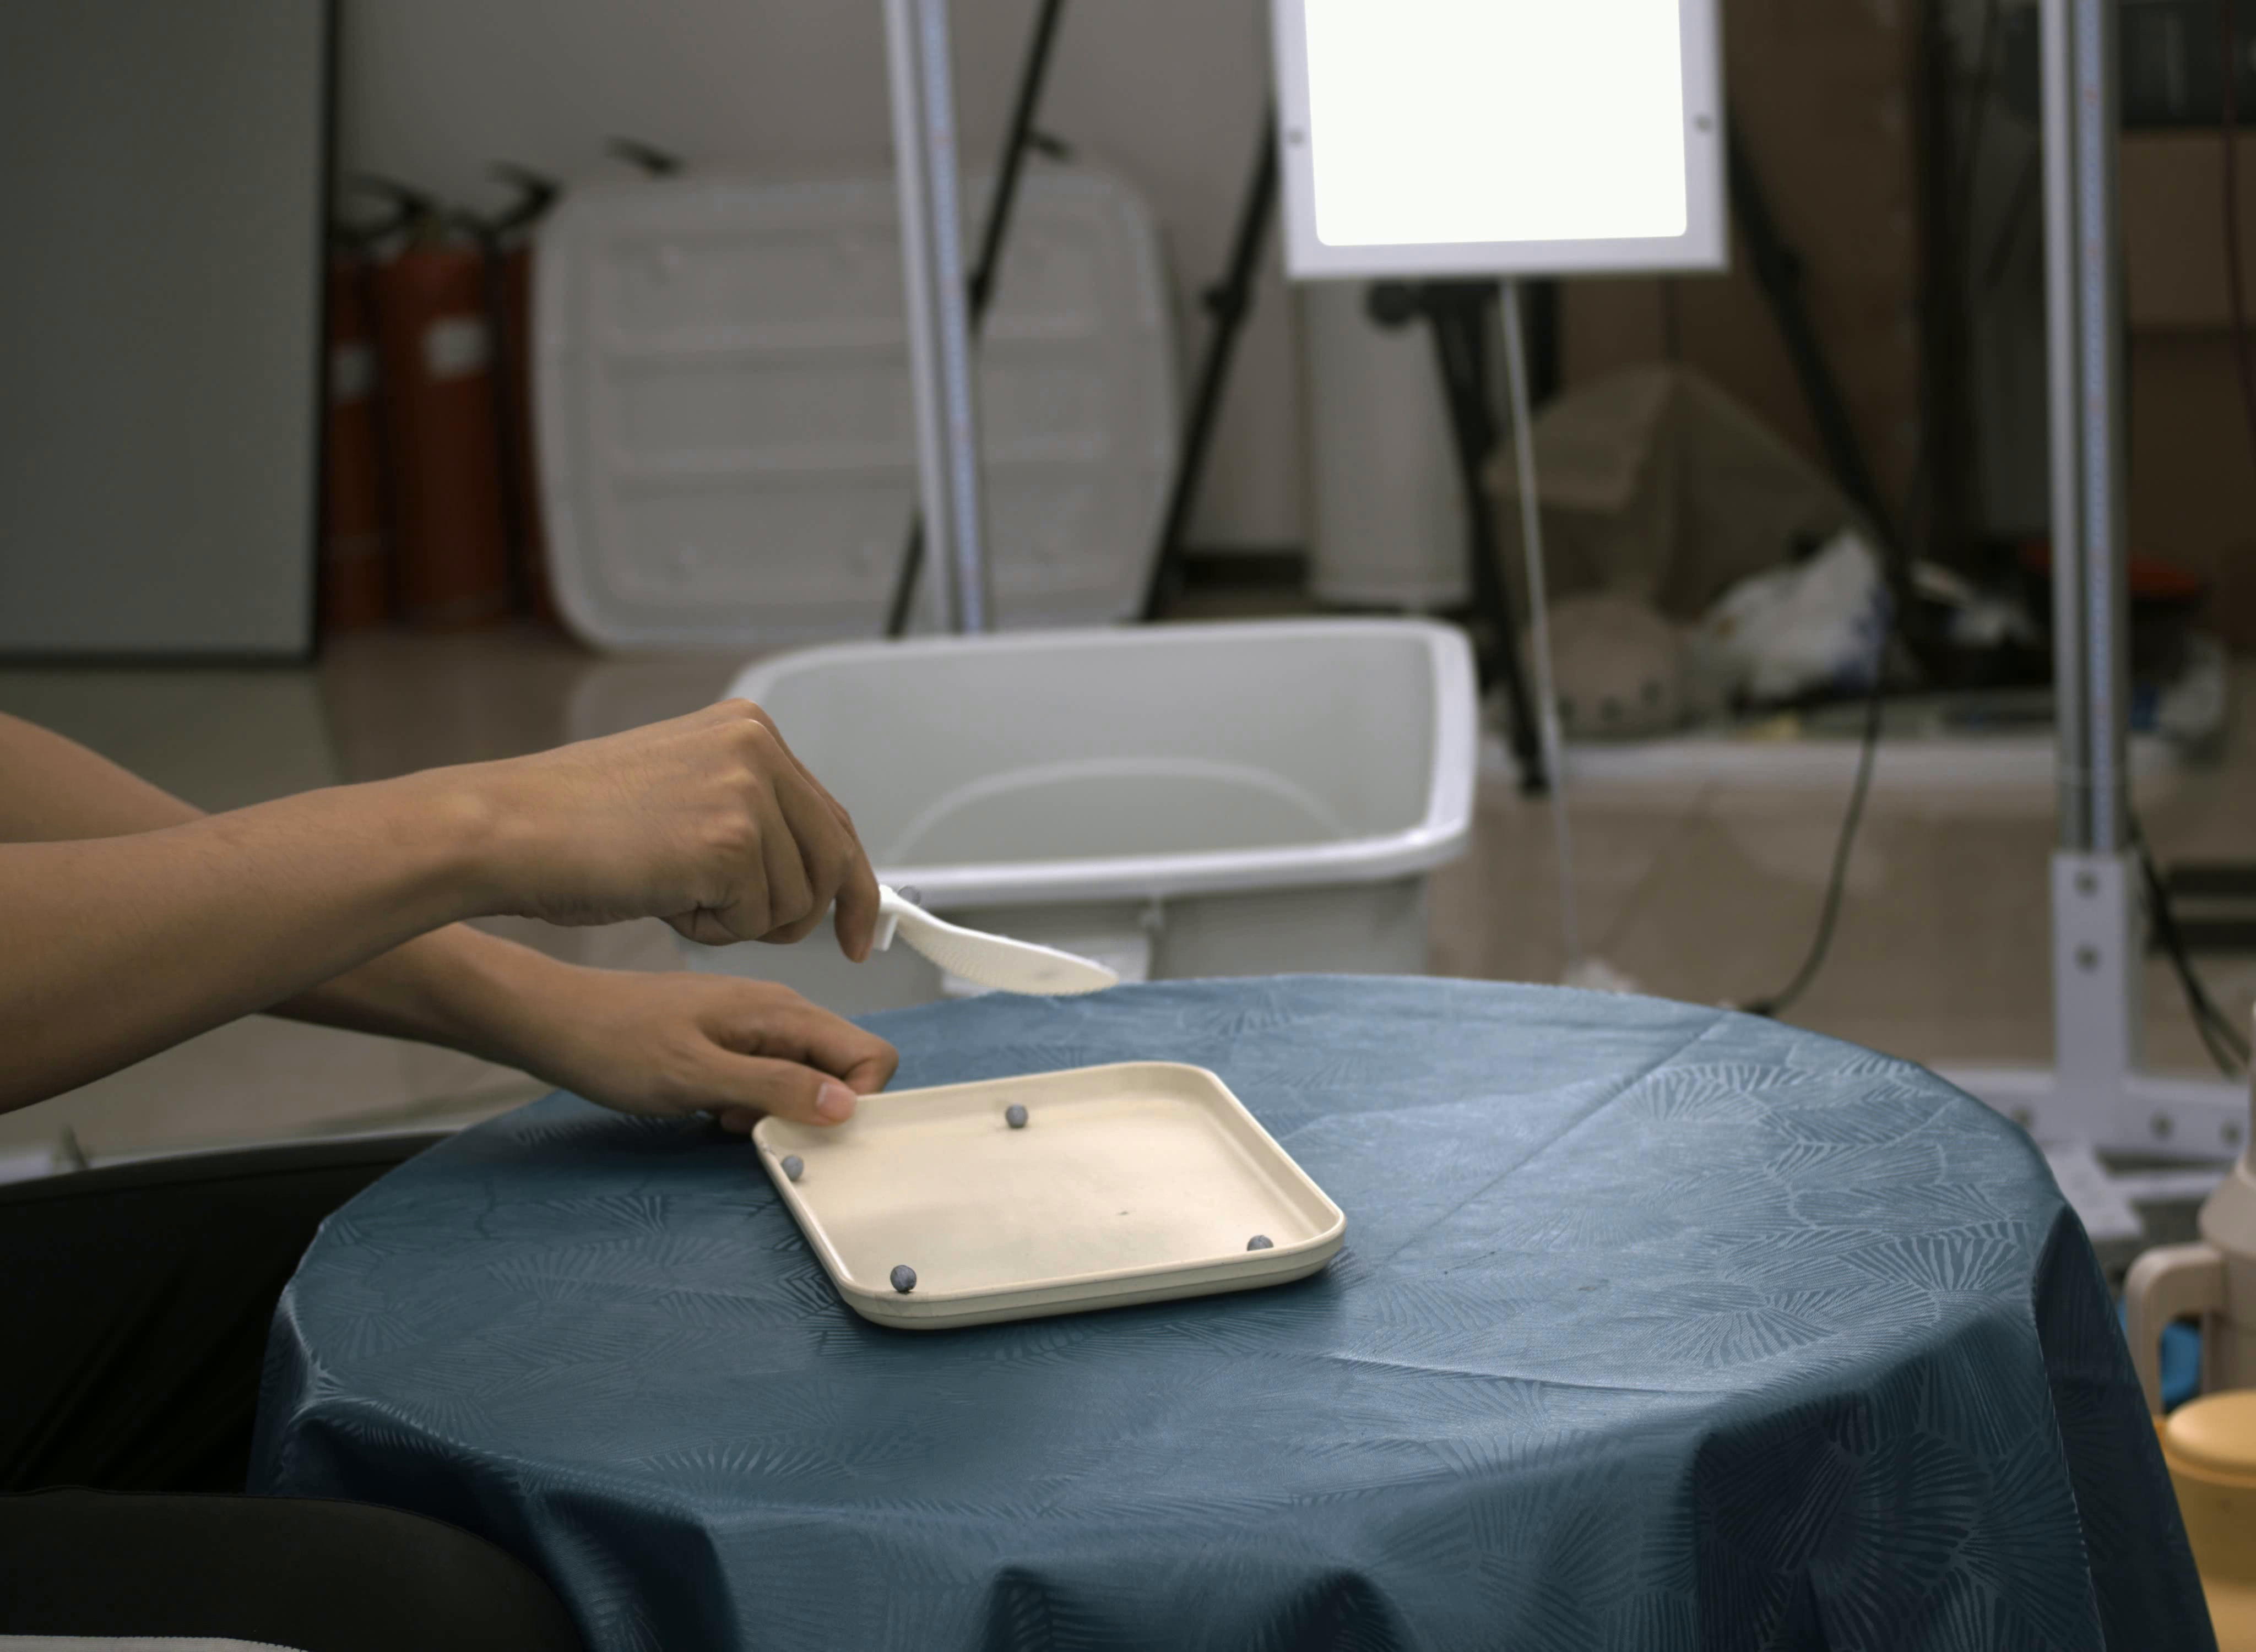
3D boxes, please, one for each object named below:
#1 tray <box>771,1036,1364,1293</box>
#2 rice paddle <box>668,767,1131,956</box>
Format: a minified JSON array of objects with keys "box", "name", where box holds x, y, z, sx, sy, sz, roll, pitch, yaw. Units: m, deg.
[{"box":[-0.024,0.115,1.890,0.169,0.017,0.241,-7,13,-10],"name":"tray"},{"box":[-0.072,0.016,1.818,0.070,0.029,0.200,12,-4,42],"name":"rice paddle"}]
